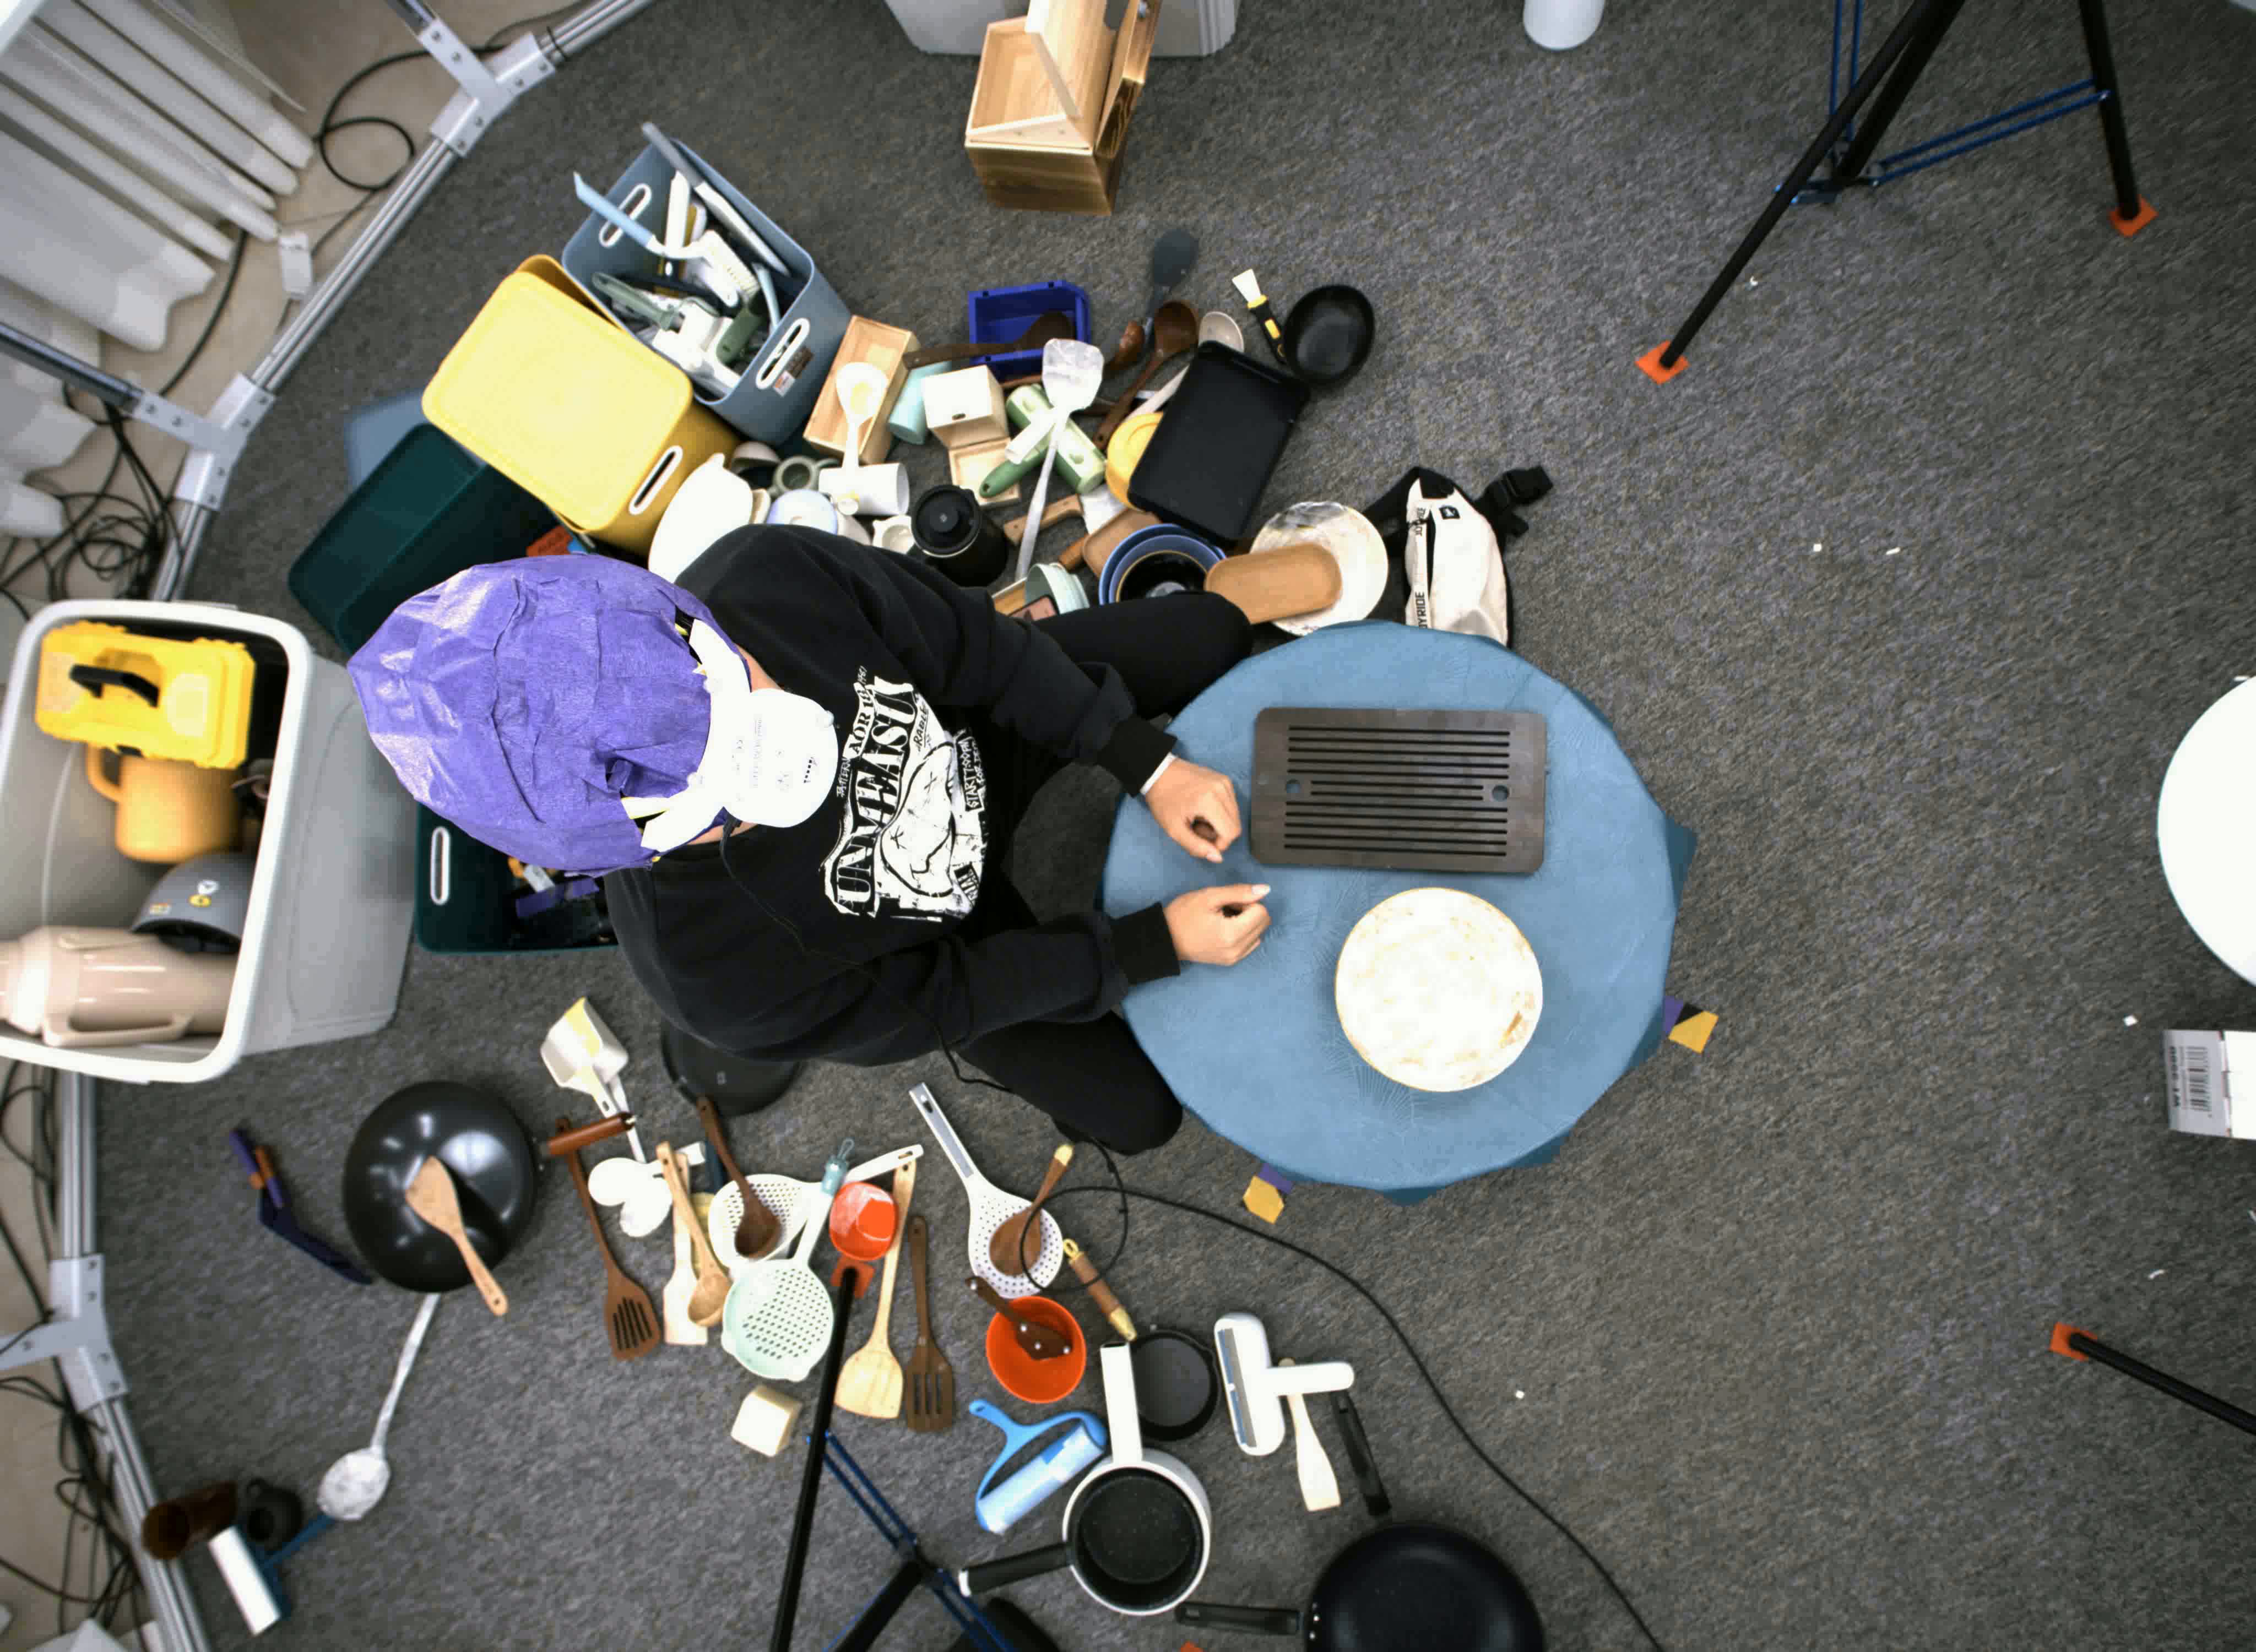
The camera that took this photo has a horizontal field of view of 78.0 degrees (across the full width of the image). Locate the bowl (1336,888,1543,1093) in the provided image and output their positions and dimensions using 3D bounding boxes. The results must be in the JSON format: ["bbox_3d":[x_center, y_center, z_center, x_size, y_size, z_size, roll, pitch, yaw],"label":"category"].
[{"bbox_3d":[0.312,0.161,1.404,0.215,0.094,0.214,-1,87,11],"label":"bowl"}]

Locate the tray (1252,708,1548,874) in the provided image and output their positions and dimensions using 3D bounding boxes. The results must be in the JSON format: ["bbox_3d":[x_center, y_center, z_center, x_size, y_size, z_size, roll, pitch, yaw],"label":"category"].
[{"bbox_3d":[0.287,-0.040,1.460,0.307,0.018,0.169,2,86,11],"label":"tray"}]
